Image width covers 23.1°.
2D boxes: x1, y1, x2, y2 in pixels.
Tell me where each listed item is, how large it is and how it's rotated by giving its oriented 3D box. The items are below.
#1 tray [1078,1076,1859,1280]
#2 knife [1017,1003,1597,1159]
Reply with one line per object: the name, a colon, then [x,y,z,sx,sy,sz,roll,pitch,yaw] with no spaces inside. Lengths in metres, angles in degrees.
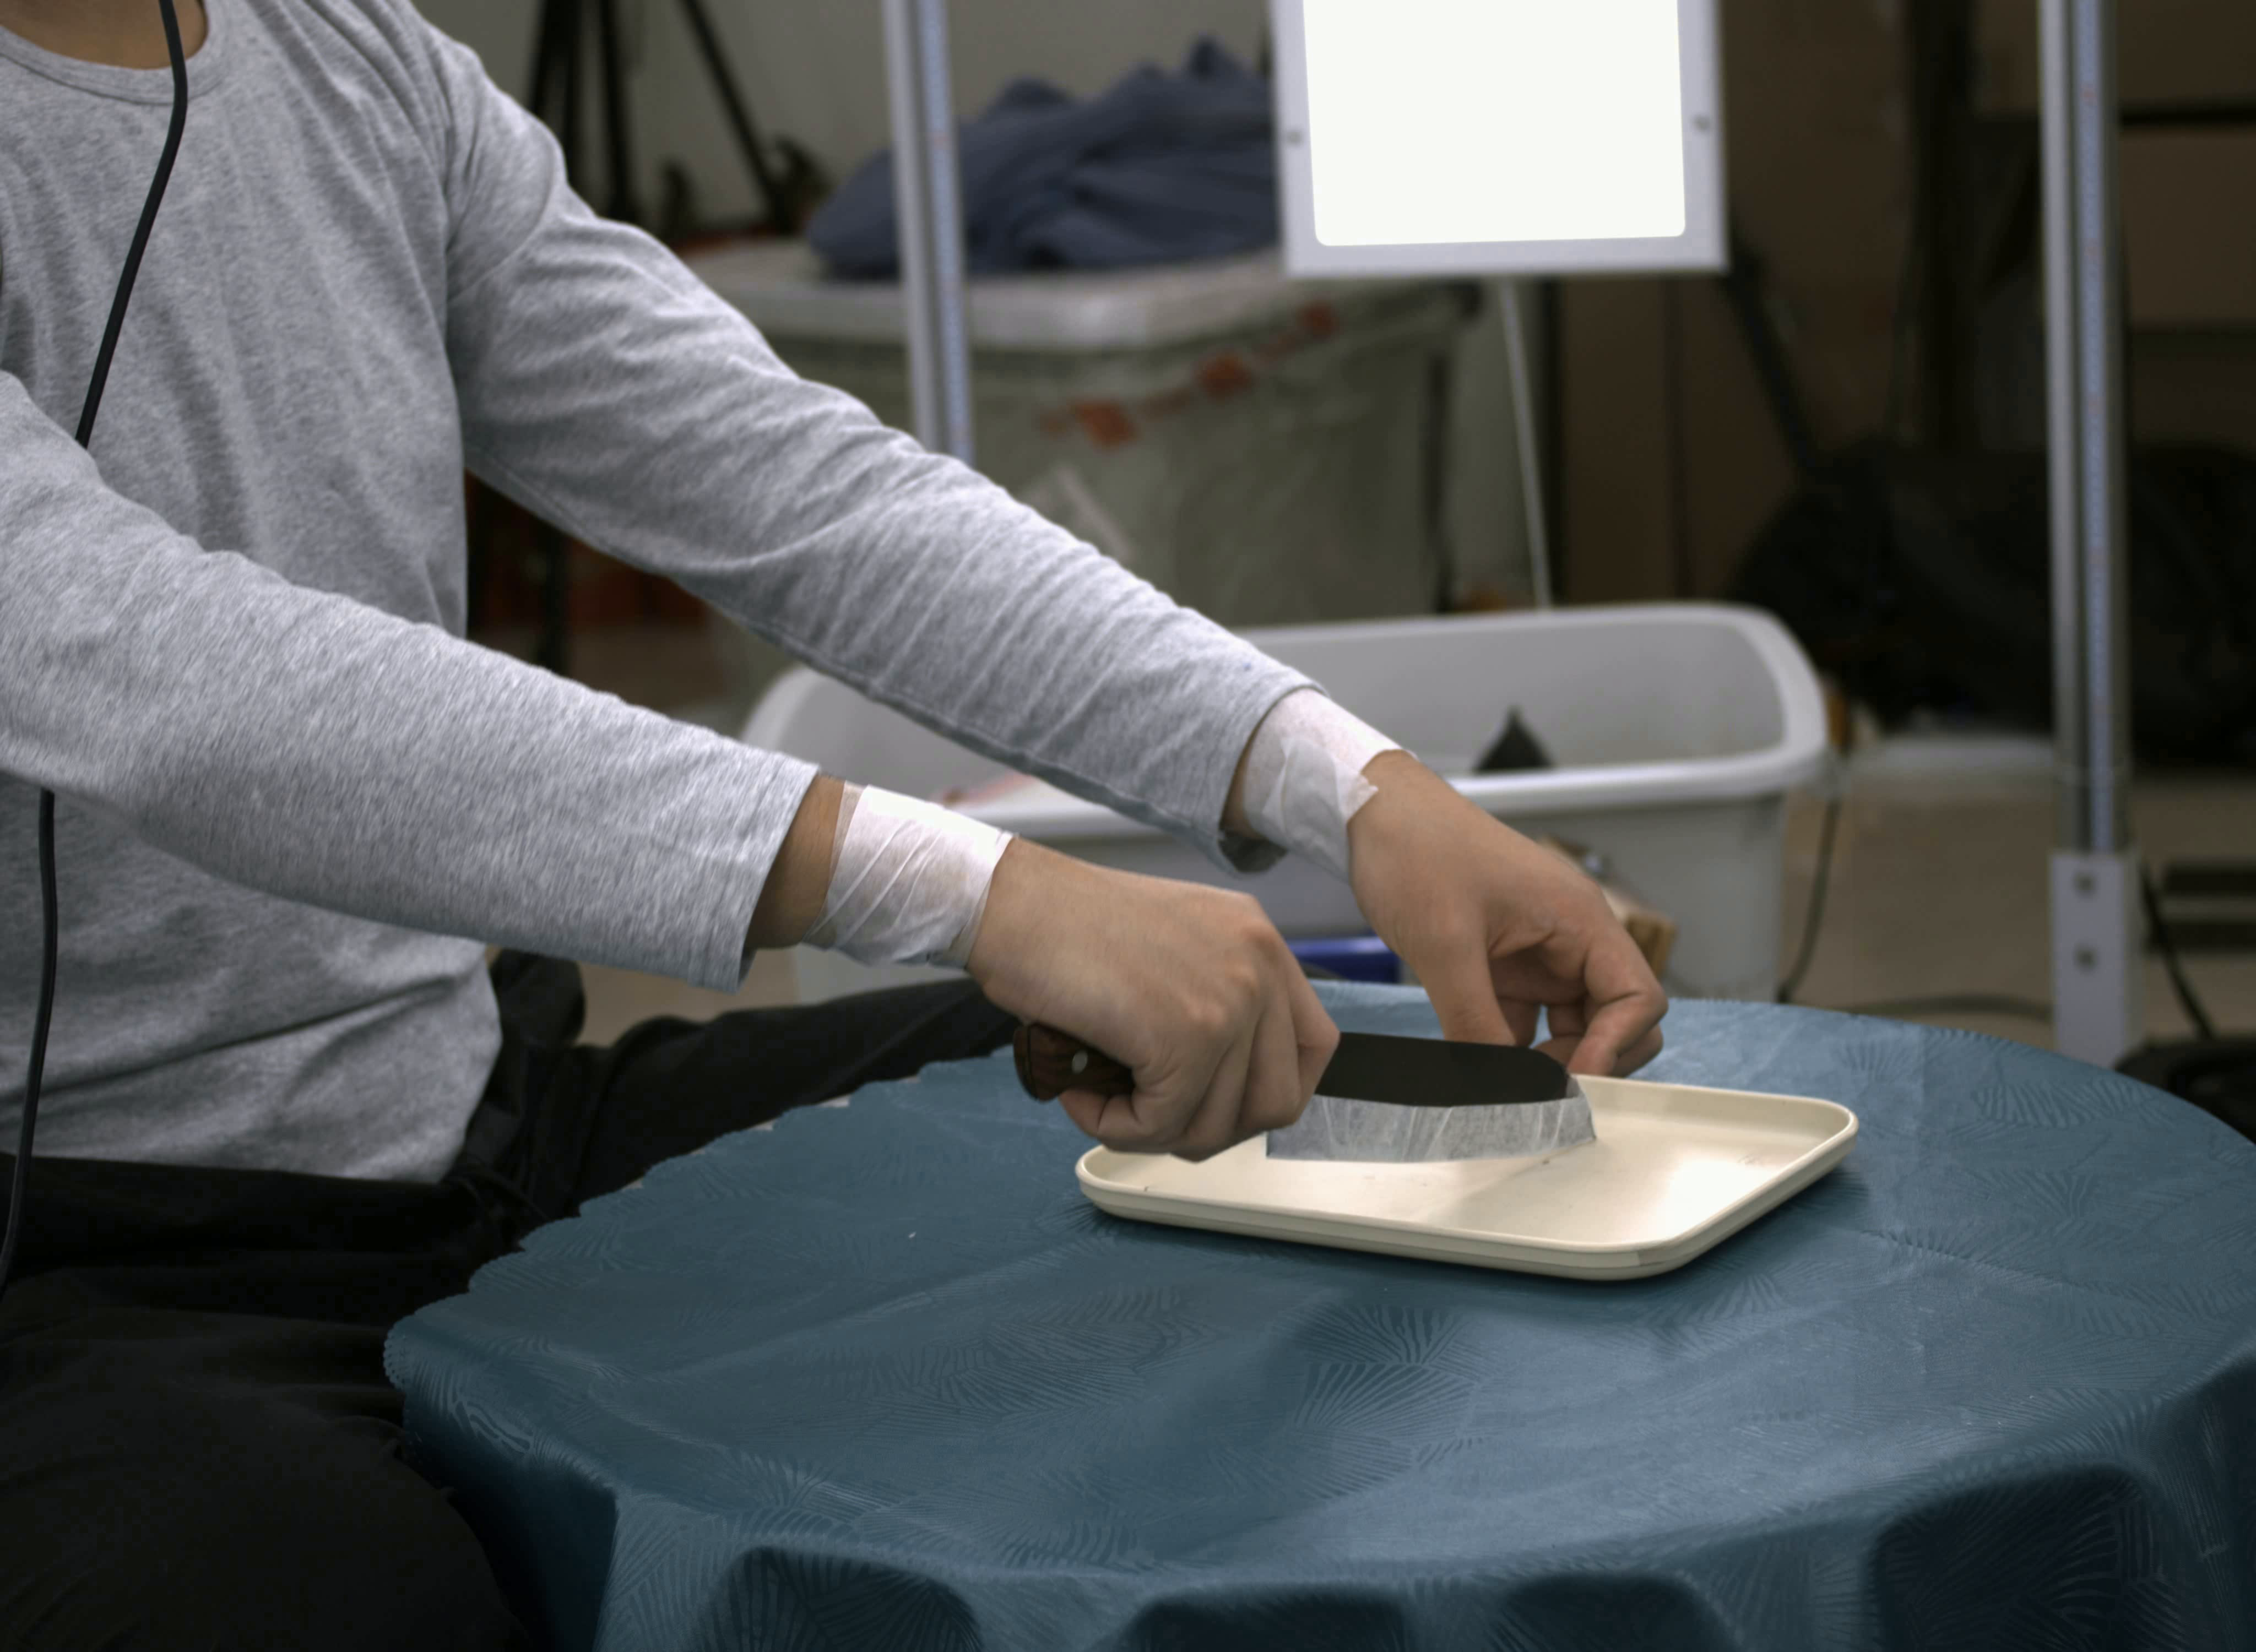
tray: [0.116,0.115,1.872,0.244,0.017,0.167,5,16,36]
knife: [0.066,0.085,1.804,0.282,0.050,0.020,10,8,-45]
